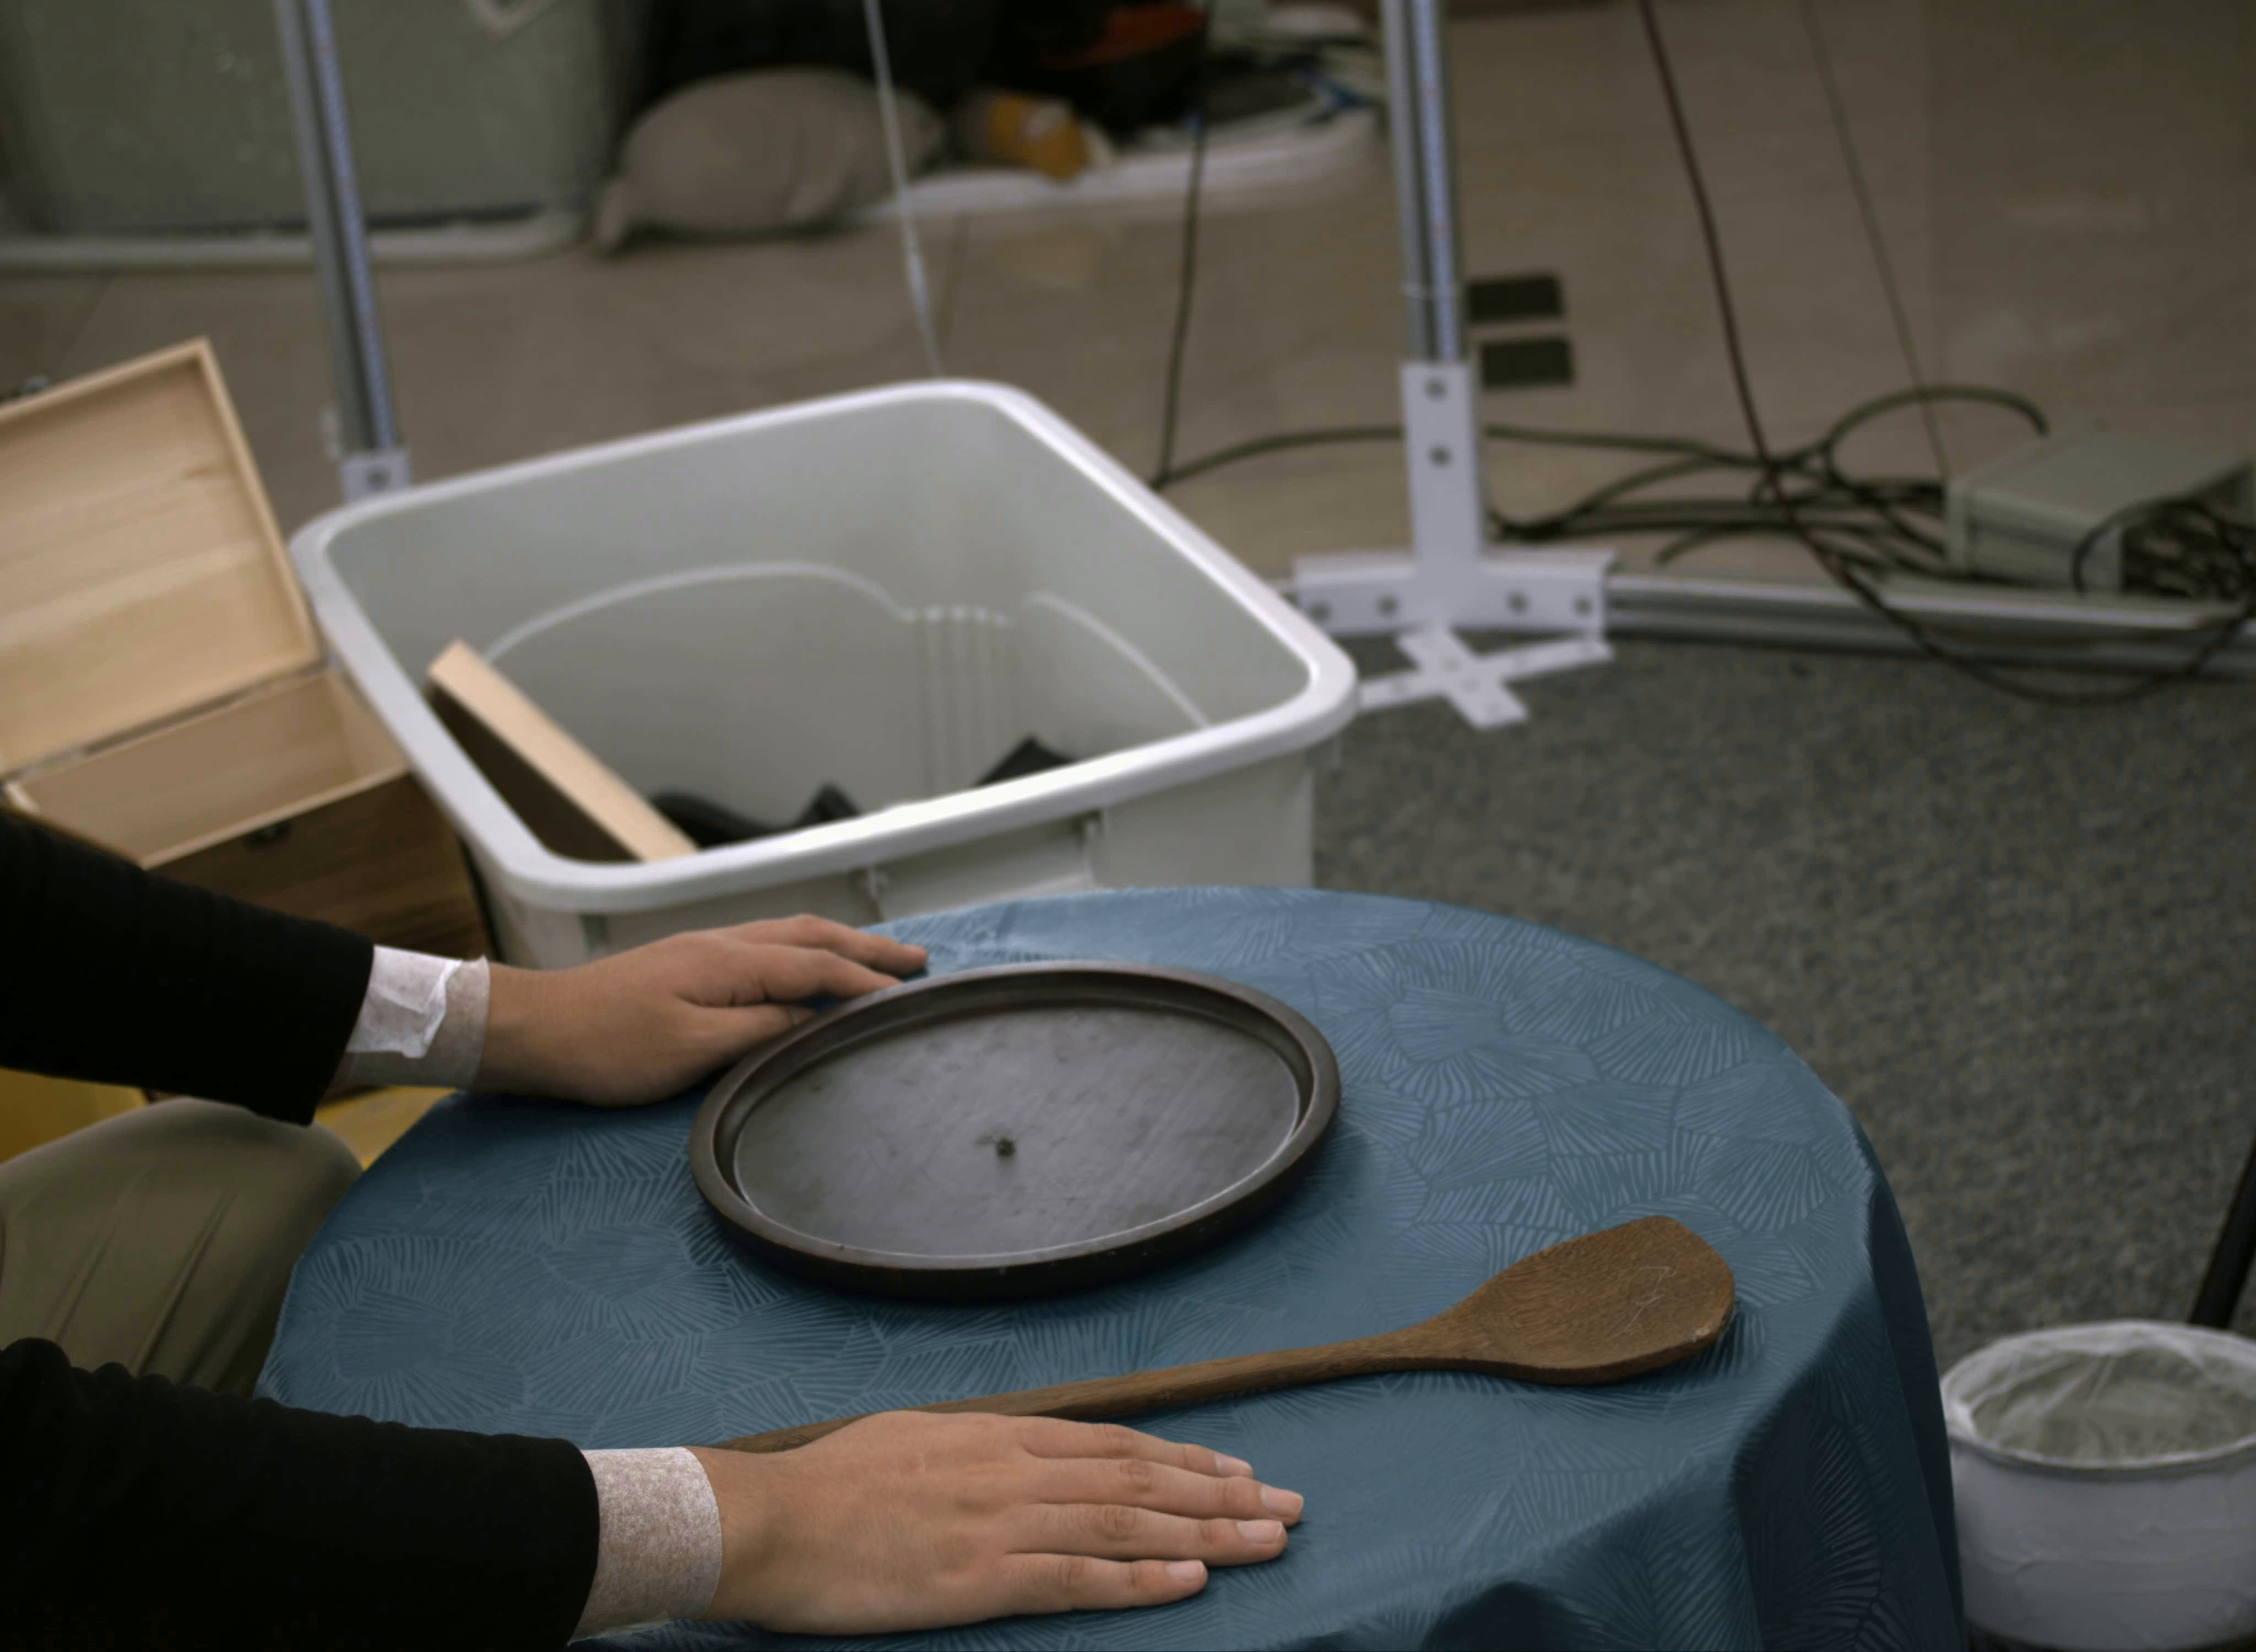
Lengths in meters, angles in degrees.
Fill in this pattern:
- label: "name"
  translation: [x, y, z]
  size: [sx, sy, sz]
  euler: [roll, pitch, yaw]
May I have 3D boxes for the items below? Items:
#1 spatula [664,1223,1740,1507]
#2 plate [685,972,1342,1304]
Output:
- label: "spatula"
  translation: [0.026, 0.196, 2.002]
  size: [0.385, 0.016, 0.095]
  euler: [-10, 24, -7]
- label: "plate"
  translation: [-0.044, 0.118, 2.179]
  size: [0.254, 0.029, 0.251]
  euler: [-4, 26, 2]
